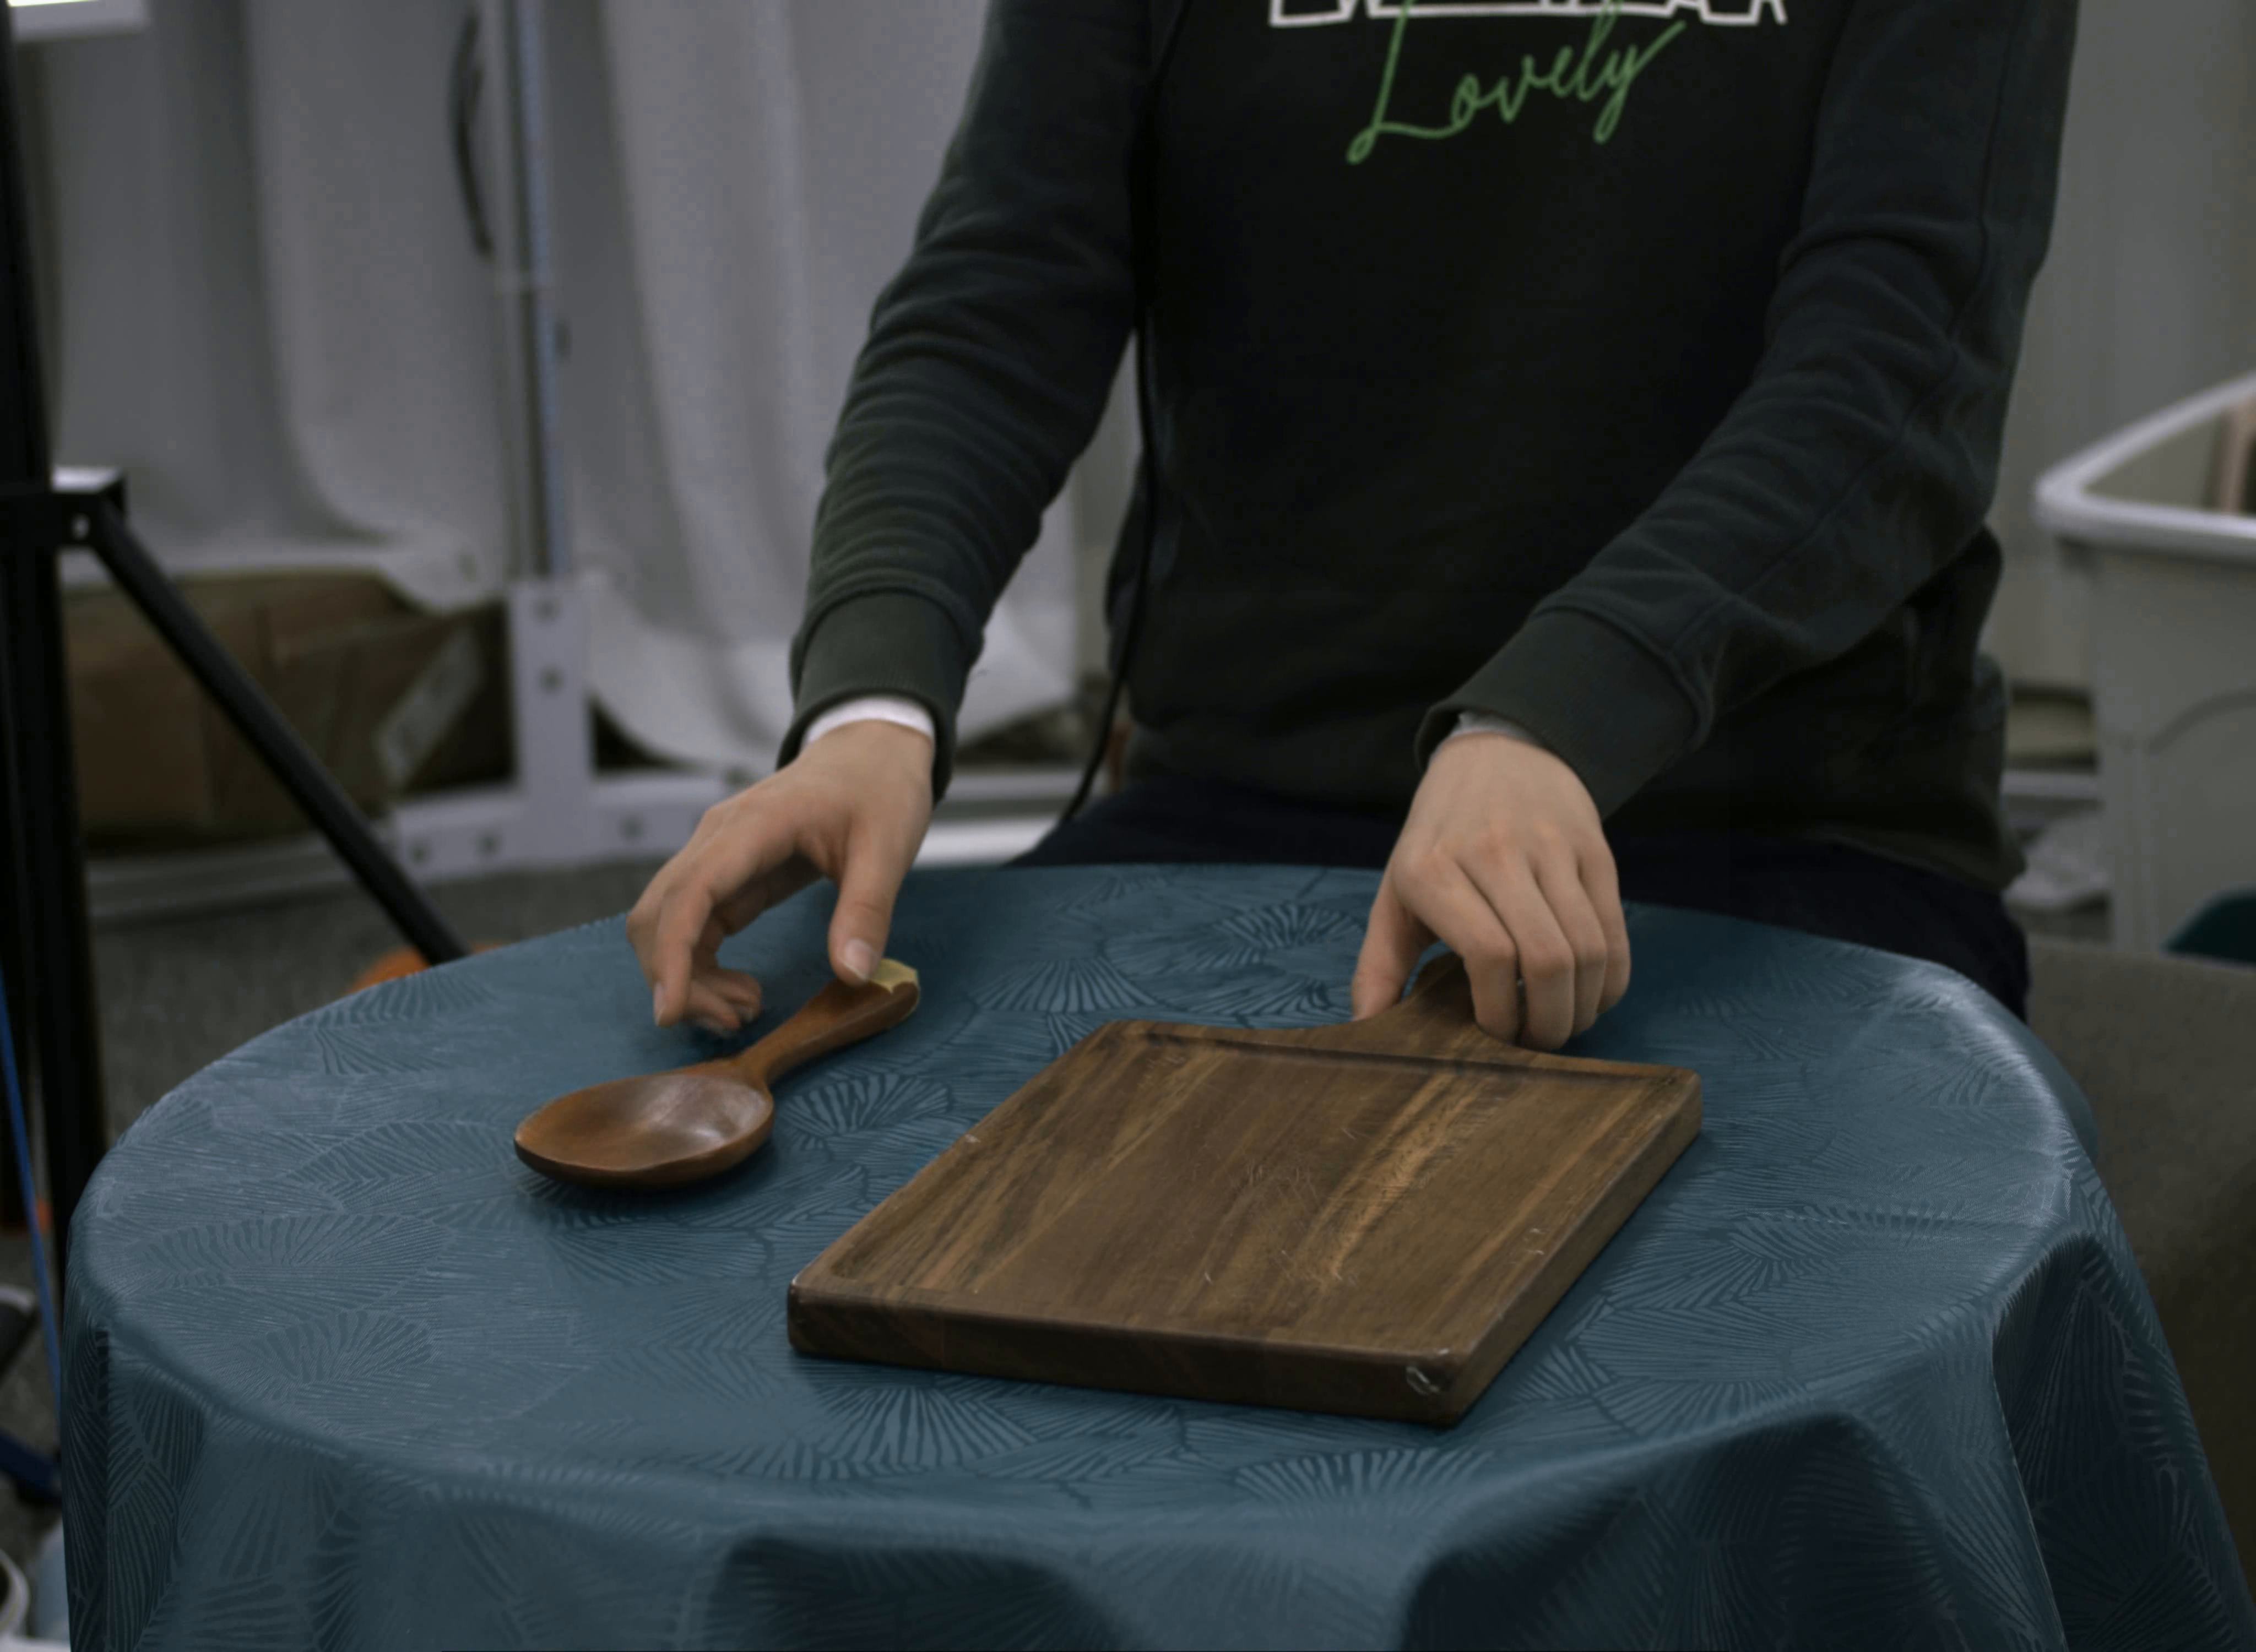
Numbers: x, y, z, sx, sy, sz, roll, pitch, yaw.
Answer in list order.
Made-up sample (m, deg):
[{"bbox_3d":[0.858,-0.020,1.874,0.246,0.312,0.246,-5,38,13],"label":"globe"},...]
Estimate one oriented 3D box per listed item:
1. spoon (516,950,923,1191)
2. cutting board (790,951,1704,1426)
[{"bbox_3d":[-0.117,0.077,1.653,0.076,0.017,0.213,3,17,25],"label":"spoon"},{"bbox_3d":[0.058,0.097,1.557,0.203,0.023,0.347,3,16,22],"label":"cutting board"}]
